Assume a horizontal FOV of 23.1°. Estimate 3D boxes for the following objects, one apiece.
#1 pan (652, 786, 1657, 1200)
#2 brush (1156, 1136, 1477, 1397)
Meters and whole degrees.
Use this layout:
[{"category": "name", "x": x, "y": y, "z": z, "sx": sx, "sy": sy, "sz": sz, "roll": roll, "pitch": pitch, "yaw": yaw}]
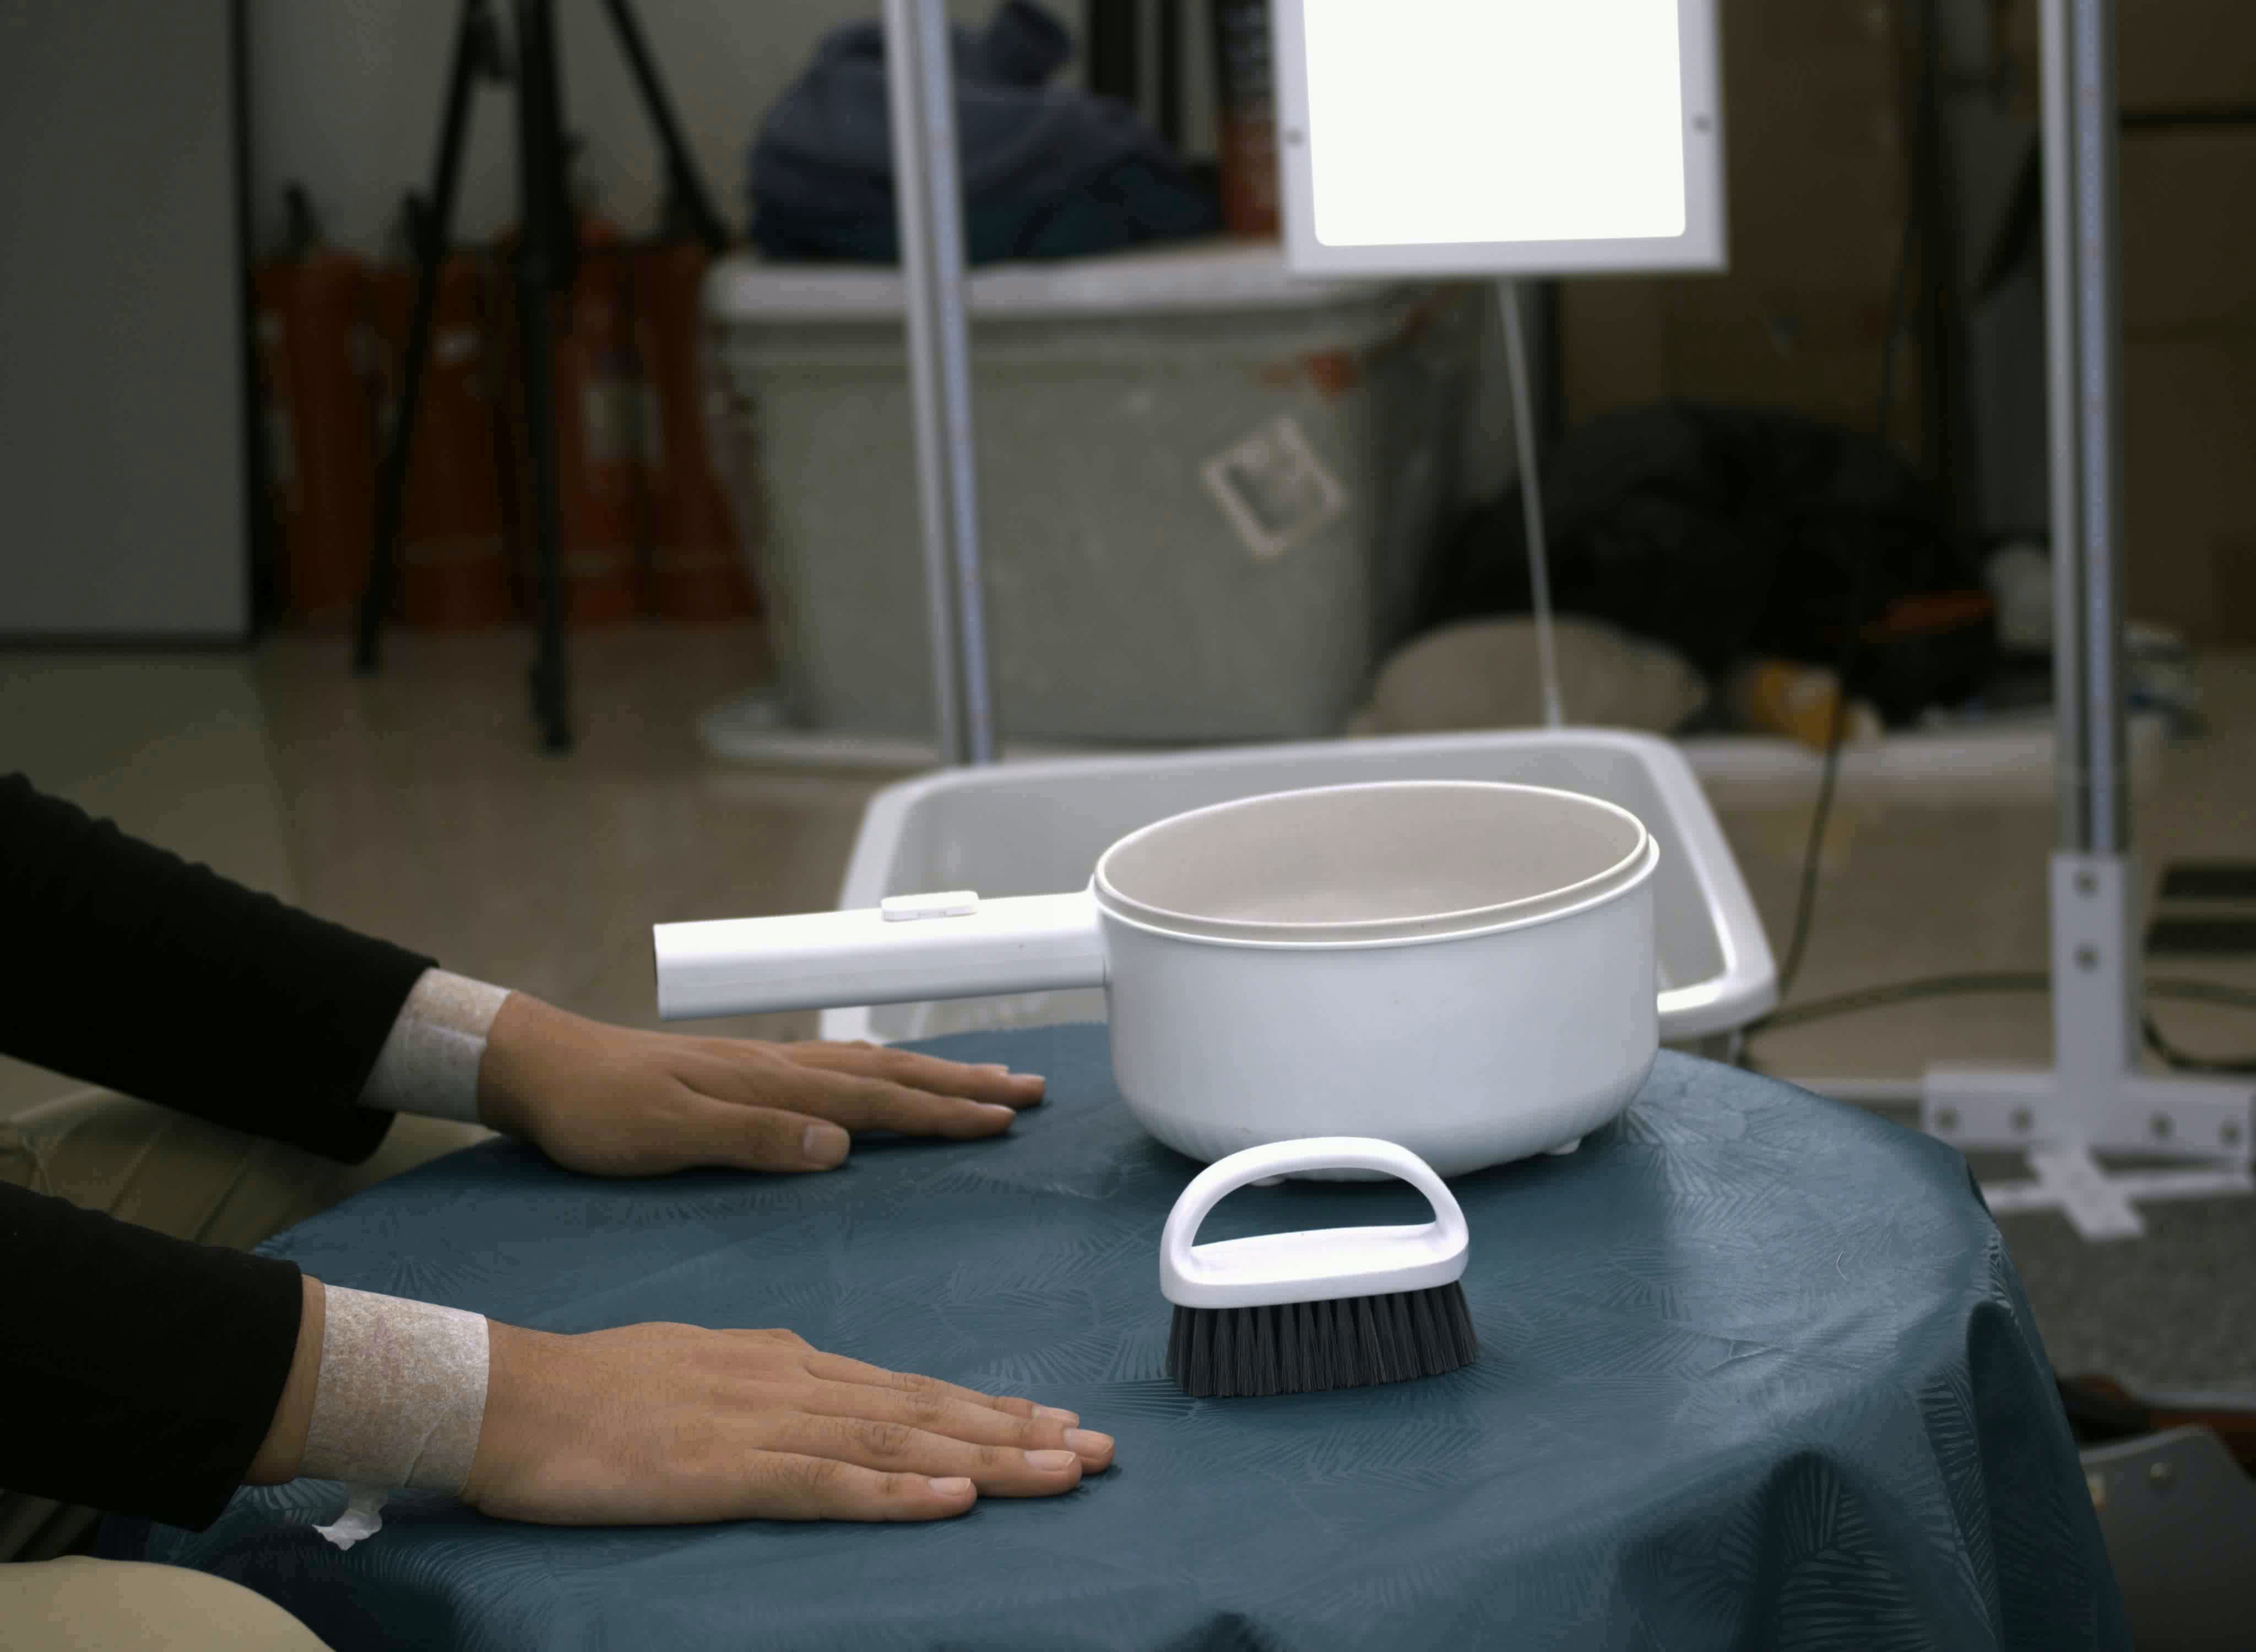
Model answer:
[{"category": "pan", "x": 0.013, "y": 0.069, "z": 1.934, "sx": 0.353, "sy": 0.102, "sz": 0.201, "roll": -6, "pitch": 16, "yaw": -3}, {"category": "brush", "x": 0.057, "y": 0.132, "z": 1.700, "sx": 0.099, "sy": 0.073, "sz": 0.050, "roll": -5, "pitch": 14, "yaw": -2}]
